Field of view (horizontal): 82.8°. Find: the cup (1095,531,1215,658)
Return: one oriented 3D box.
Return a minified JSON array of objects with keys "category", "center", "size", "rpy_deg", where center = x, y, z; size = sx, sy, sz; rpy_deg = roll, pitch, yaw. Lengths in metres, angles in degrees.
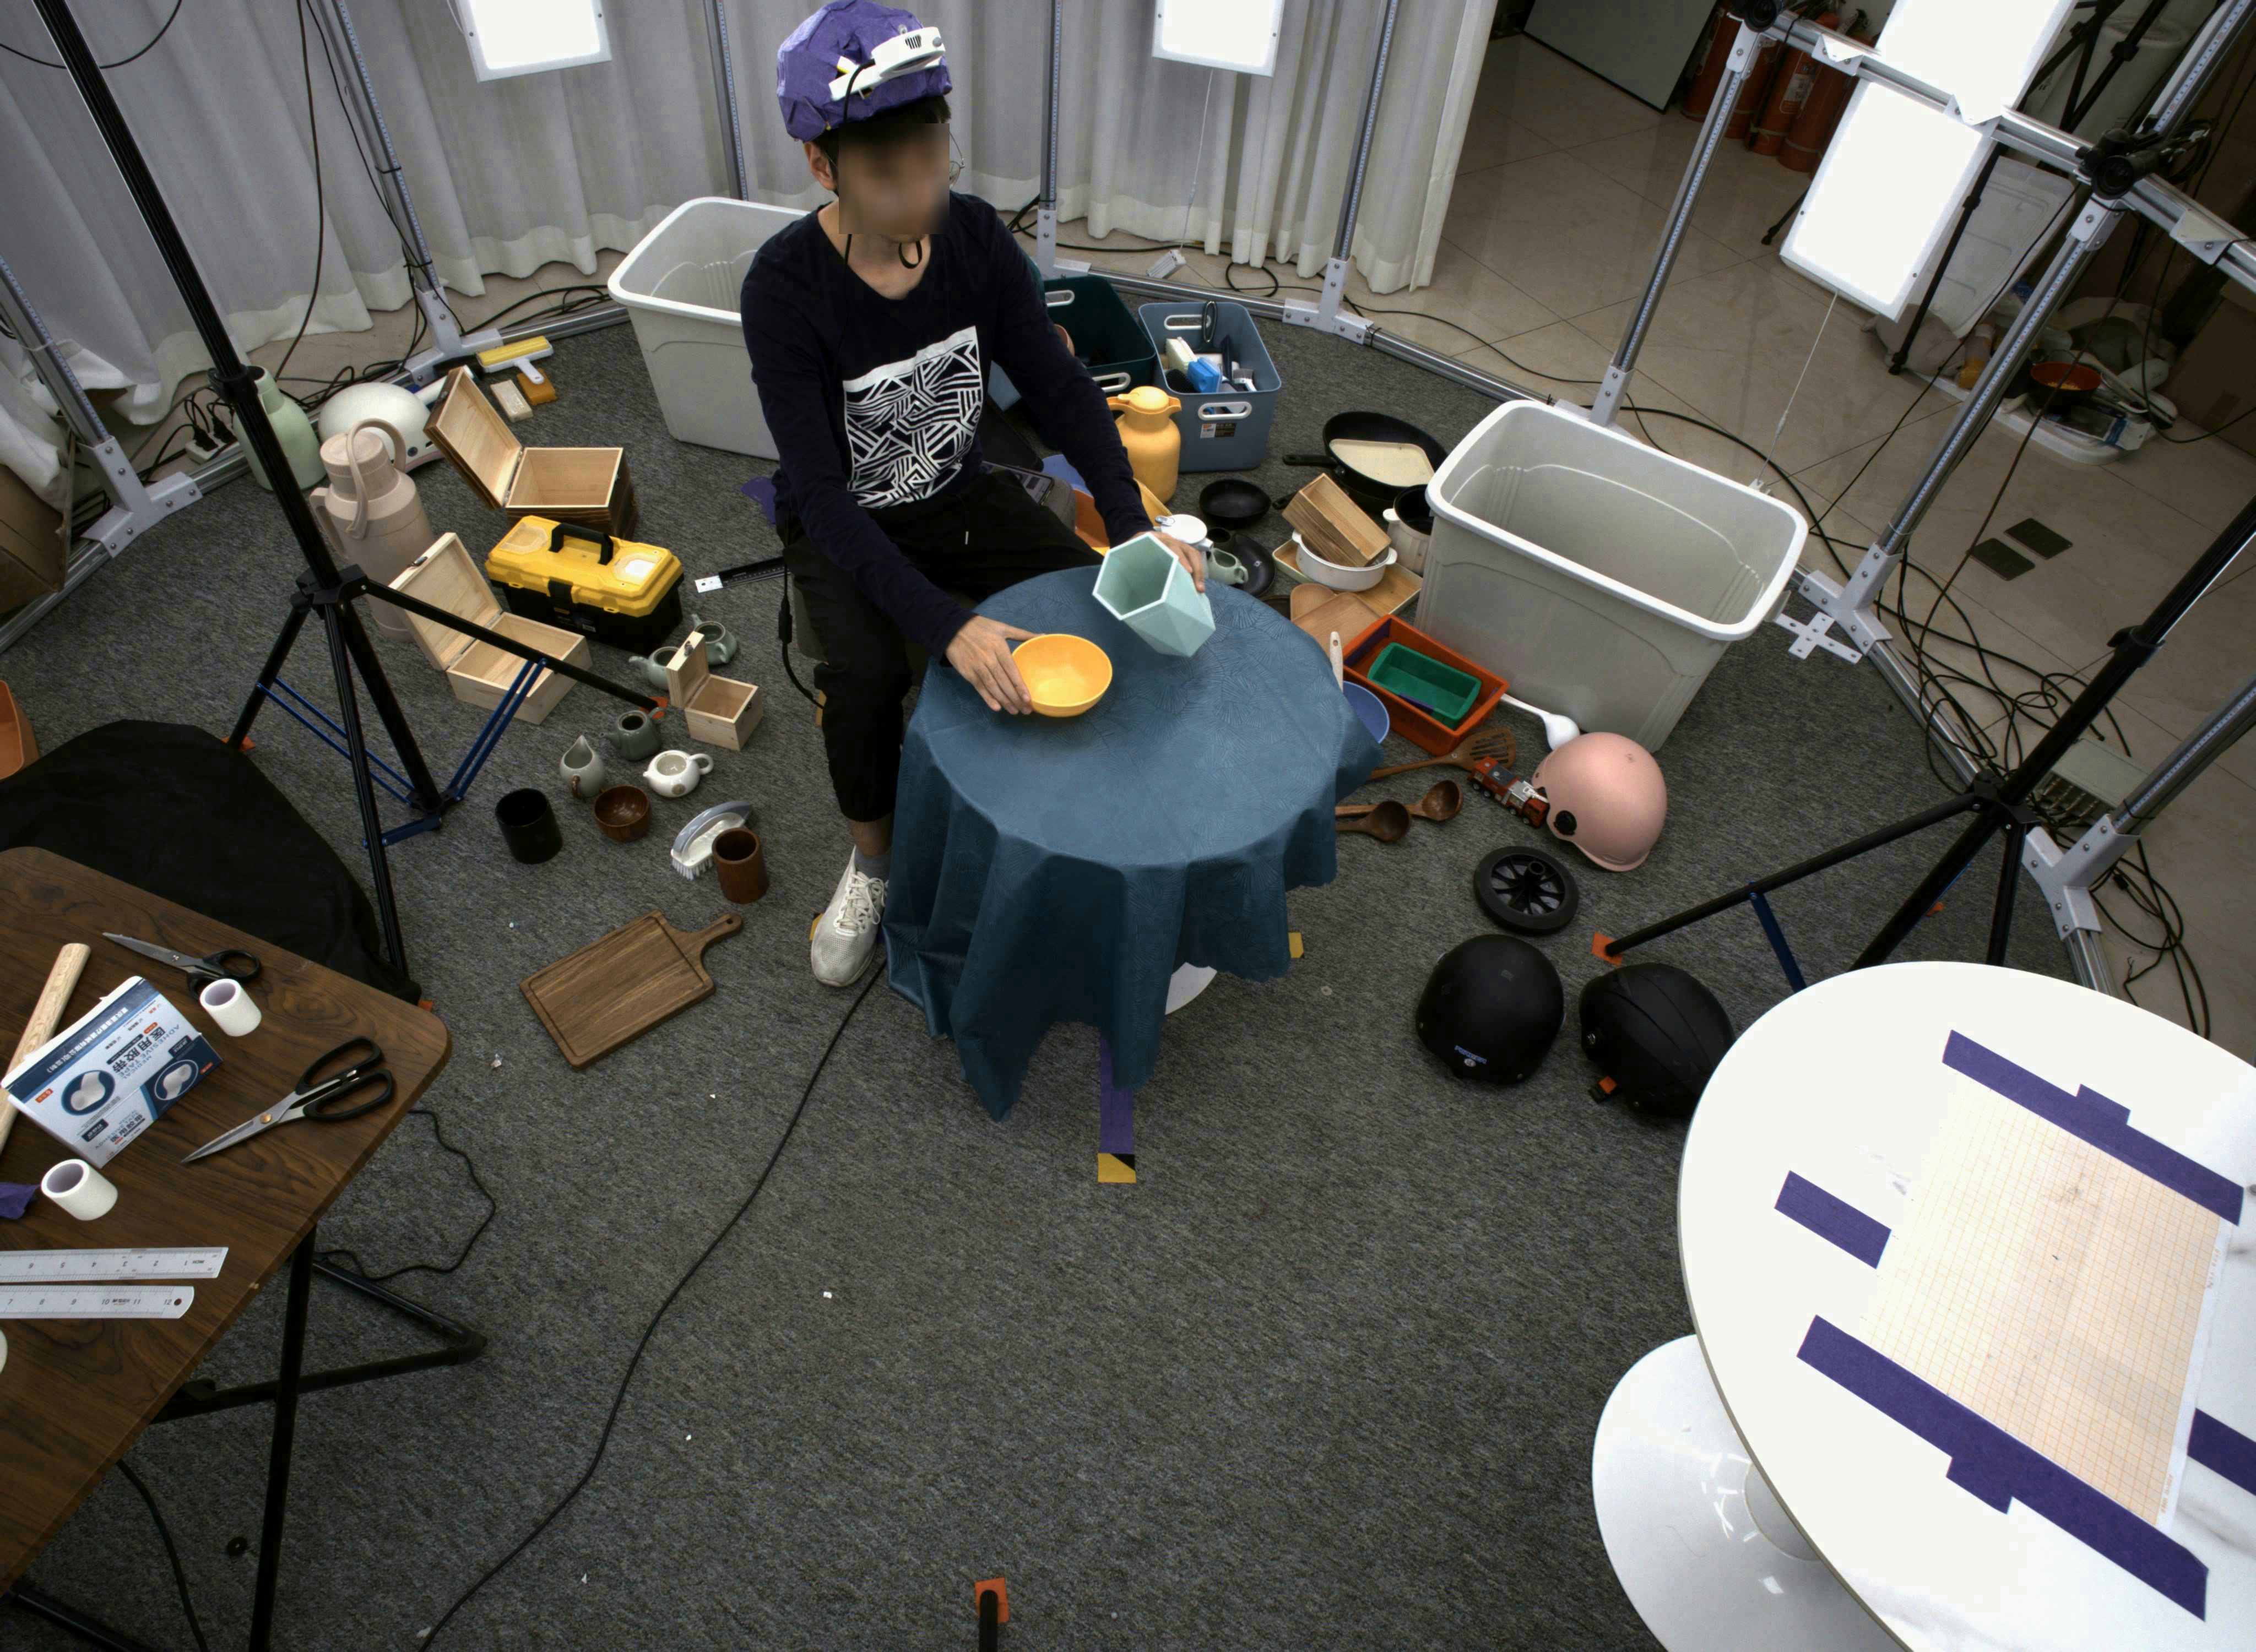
[{"category":"cup","center":[0.047,-0.313,1.798],"size":[0.130,0.160,0.117],"rpy_deg":[-22,60,19]}]

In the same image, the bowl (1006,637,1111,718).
[{"category":"bowl","center":[-0.097,-0.196,1.798],"size":[0.145,0.058,0.149],"rpy_deg":[1,46,-2]}]
